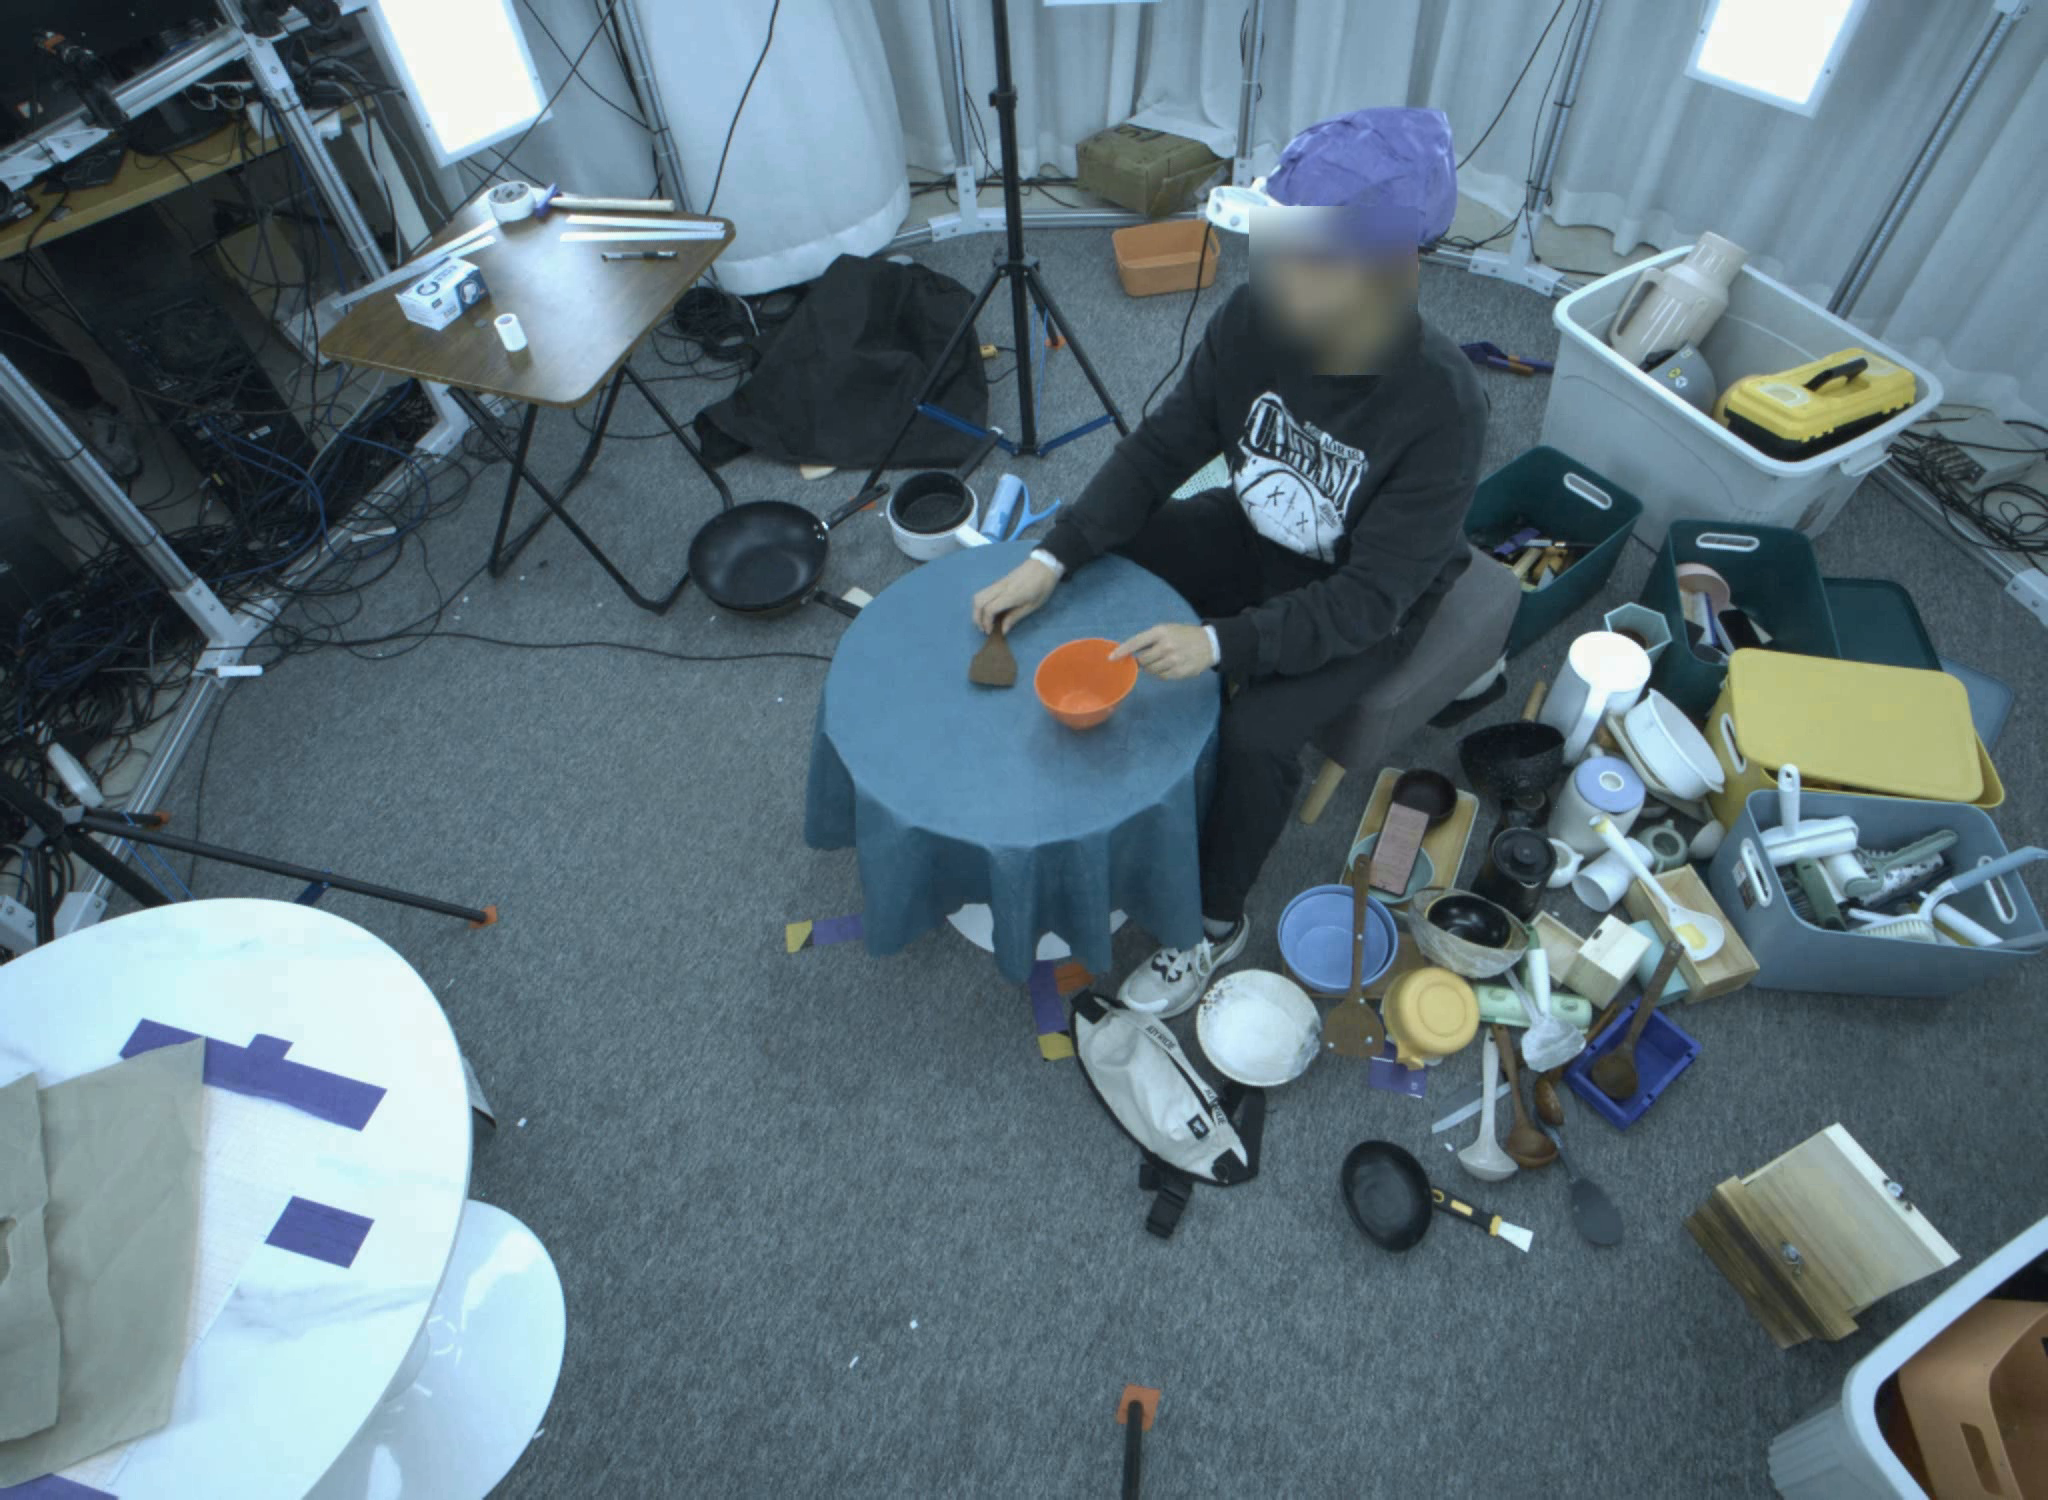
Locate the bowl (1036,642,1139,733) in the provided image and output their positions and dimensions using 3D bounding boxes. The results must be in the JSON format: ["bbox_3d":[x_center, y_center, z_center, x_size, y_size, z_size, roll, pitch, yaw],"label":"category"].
[{"bbox_3d":[0.091,-0.077,1.788,0.148,0.106,0.146,-1,55,2],"label":"bowl"}]

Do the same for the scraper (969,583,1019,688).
[{"bbox_3d":[-0.041,-0.179,1.912,0.076,0.011,0.209,7,57,-5],"label":"scraper"}]
